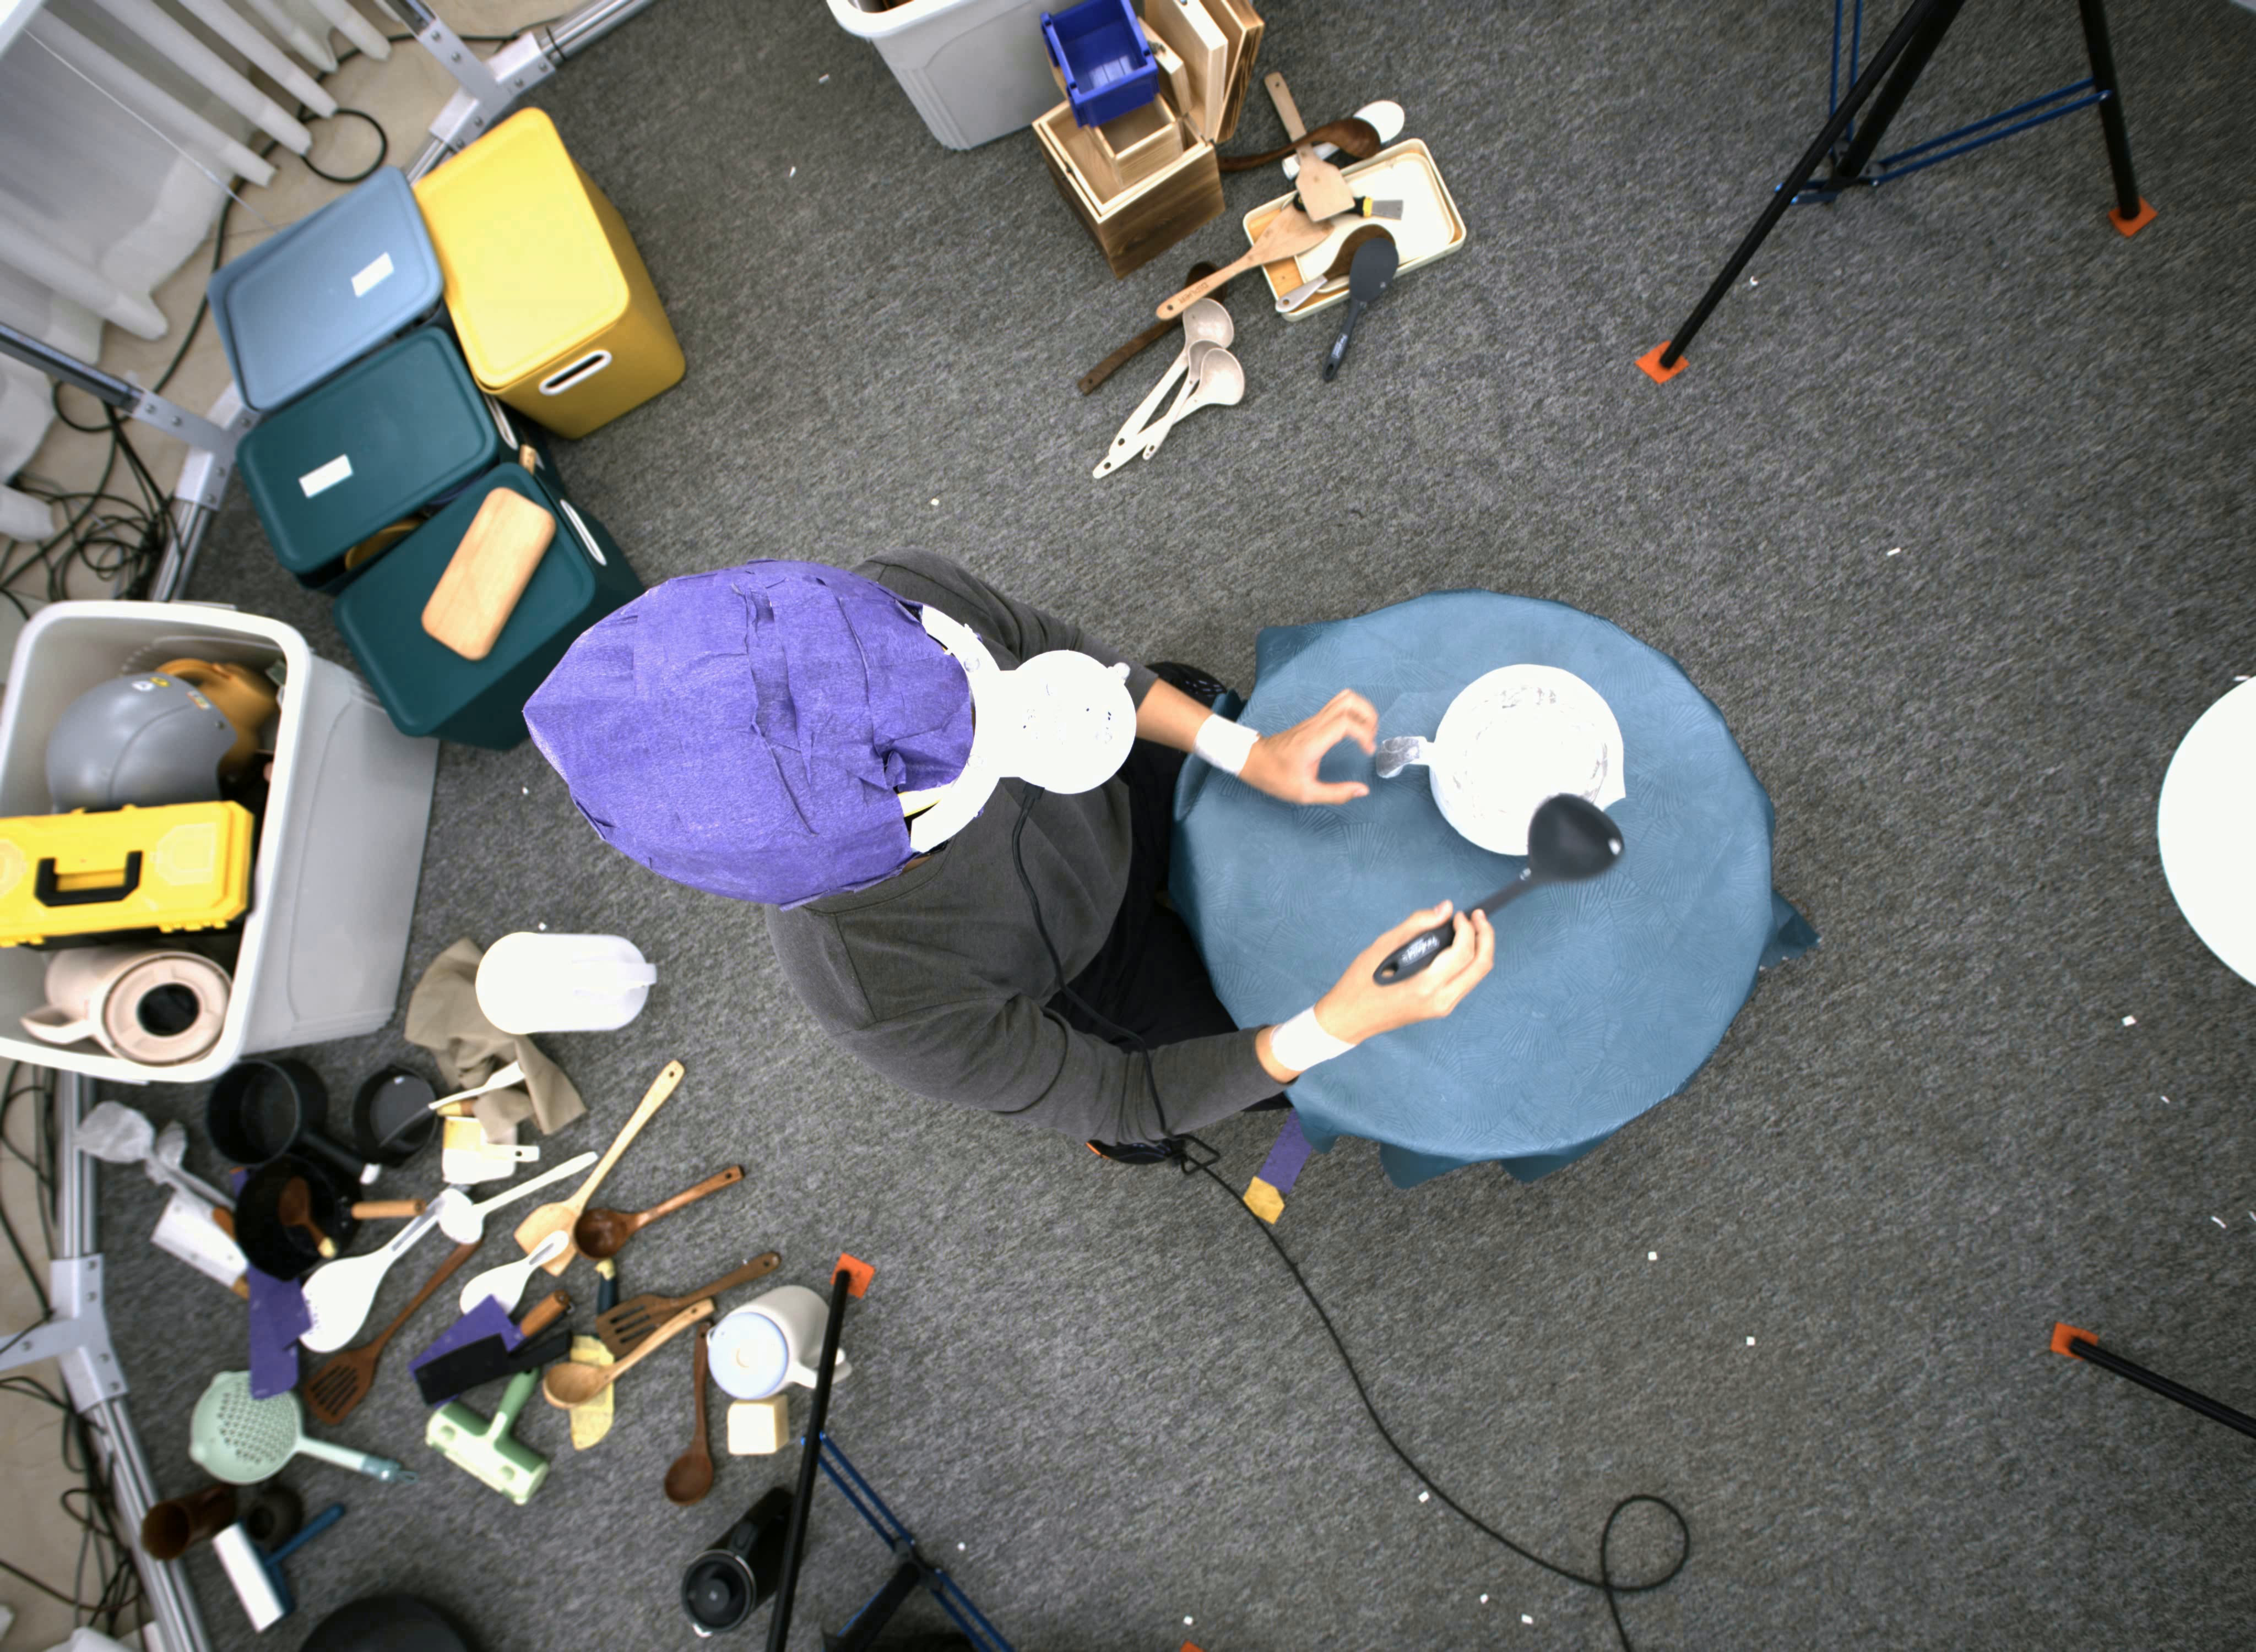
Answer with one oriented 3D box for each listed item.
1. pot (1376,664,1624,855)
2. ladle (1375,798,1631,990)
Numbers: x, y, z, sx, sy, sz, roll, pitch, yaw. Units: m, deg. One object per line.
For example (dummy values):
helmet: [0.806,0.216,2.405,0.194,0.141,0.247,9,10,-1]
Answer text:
pot: [0.367,-0.066,1.380,0.234,0.137,0.178,4,86,11]
ladle: [0.310,0.057,1.145,0.085,0.309,0.065,44,137,26]
